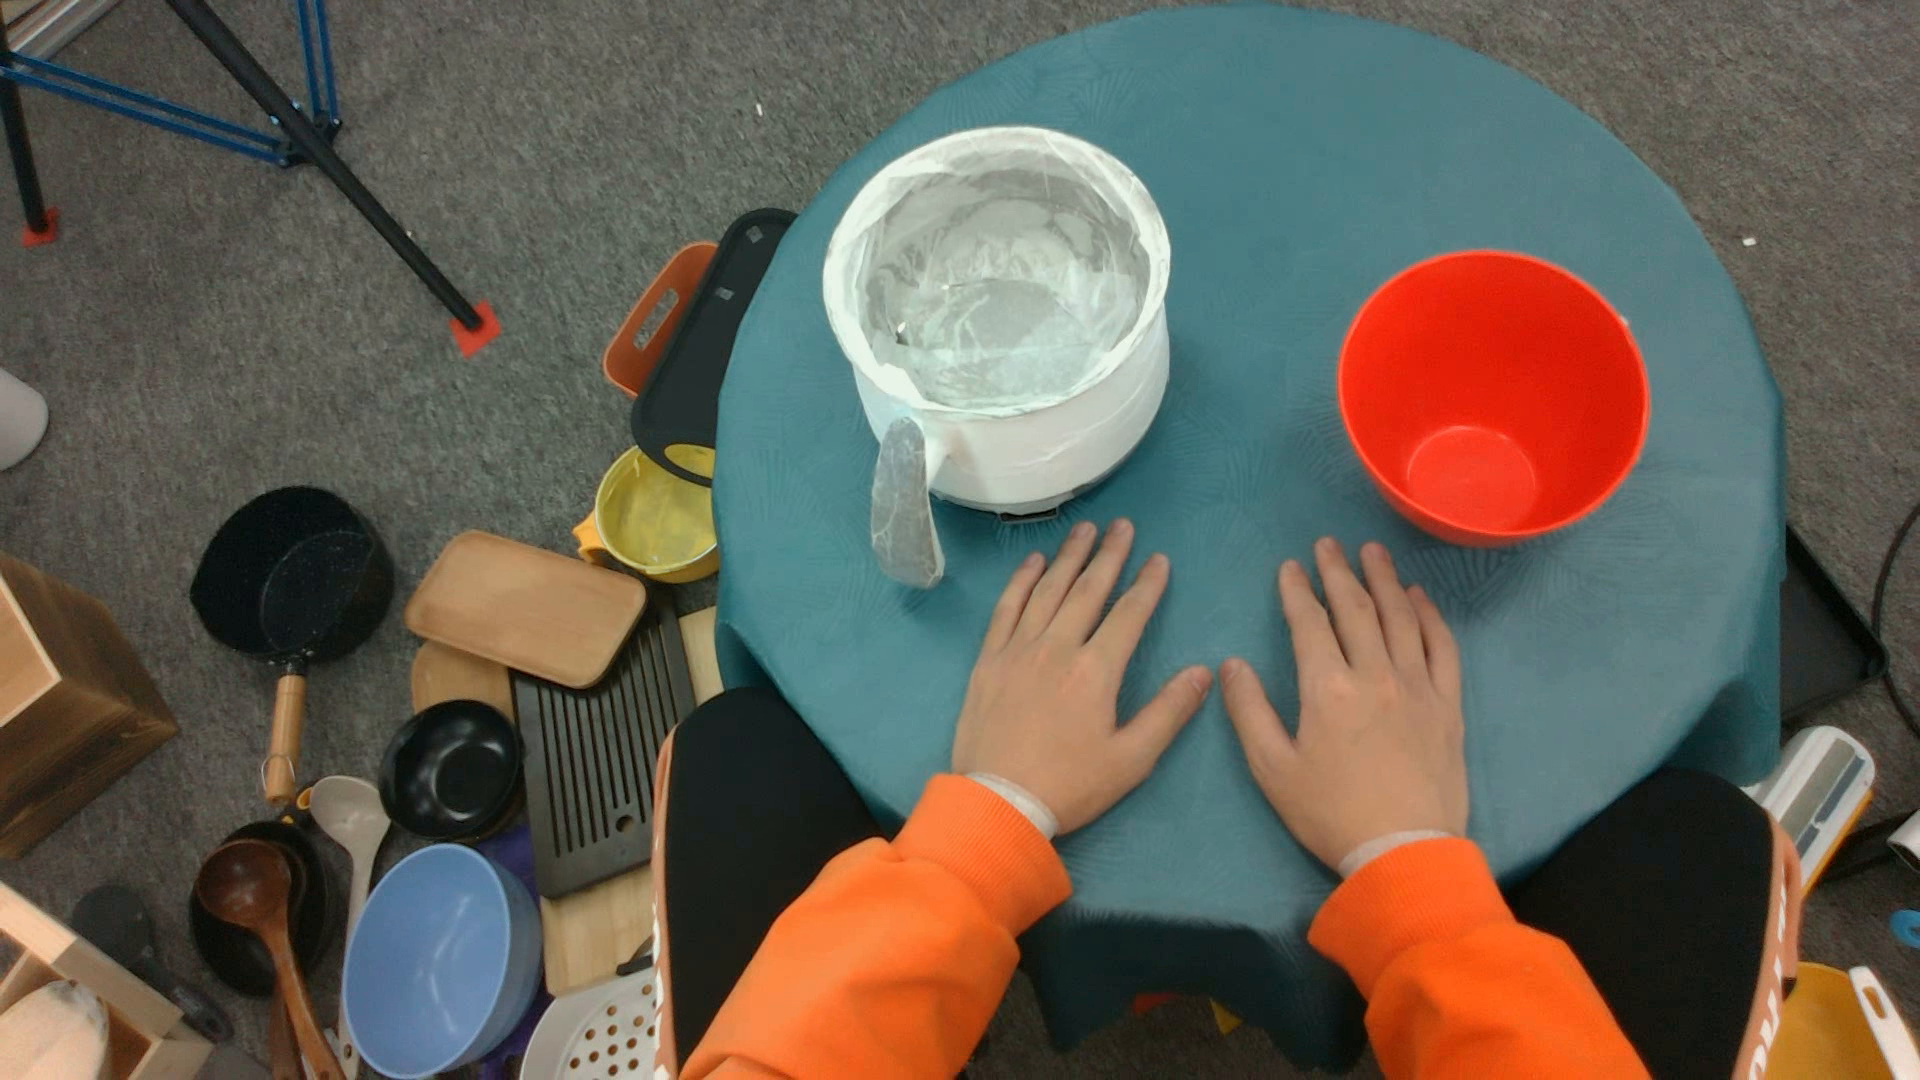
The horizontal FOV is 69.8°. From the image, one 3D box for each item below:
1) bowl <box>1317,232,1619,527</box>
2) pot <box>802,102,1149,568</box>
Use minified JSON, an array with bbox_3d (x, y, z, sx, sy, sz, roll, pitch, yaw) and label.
[{"bbox_3d":[0.257,-0.071,0.721,0.148,0.104,0.148,-2,69,6],"label":"bowl"},{"bbox_3d":[0.003,-0.102,0.744,0.178,0.136,0.234,19,70,16],"label":"pot"}]
